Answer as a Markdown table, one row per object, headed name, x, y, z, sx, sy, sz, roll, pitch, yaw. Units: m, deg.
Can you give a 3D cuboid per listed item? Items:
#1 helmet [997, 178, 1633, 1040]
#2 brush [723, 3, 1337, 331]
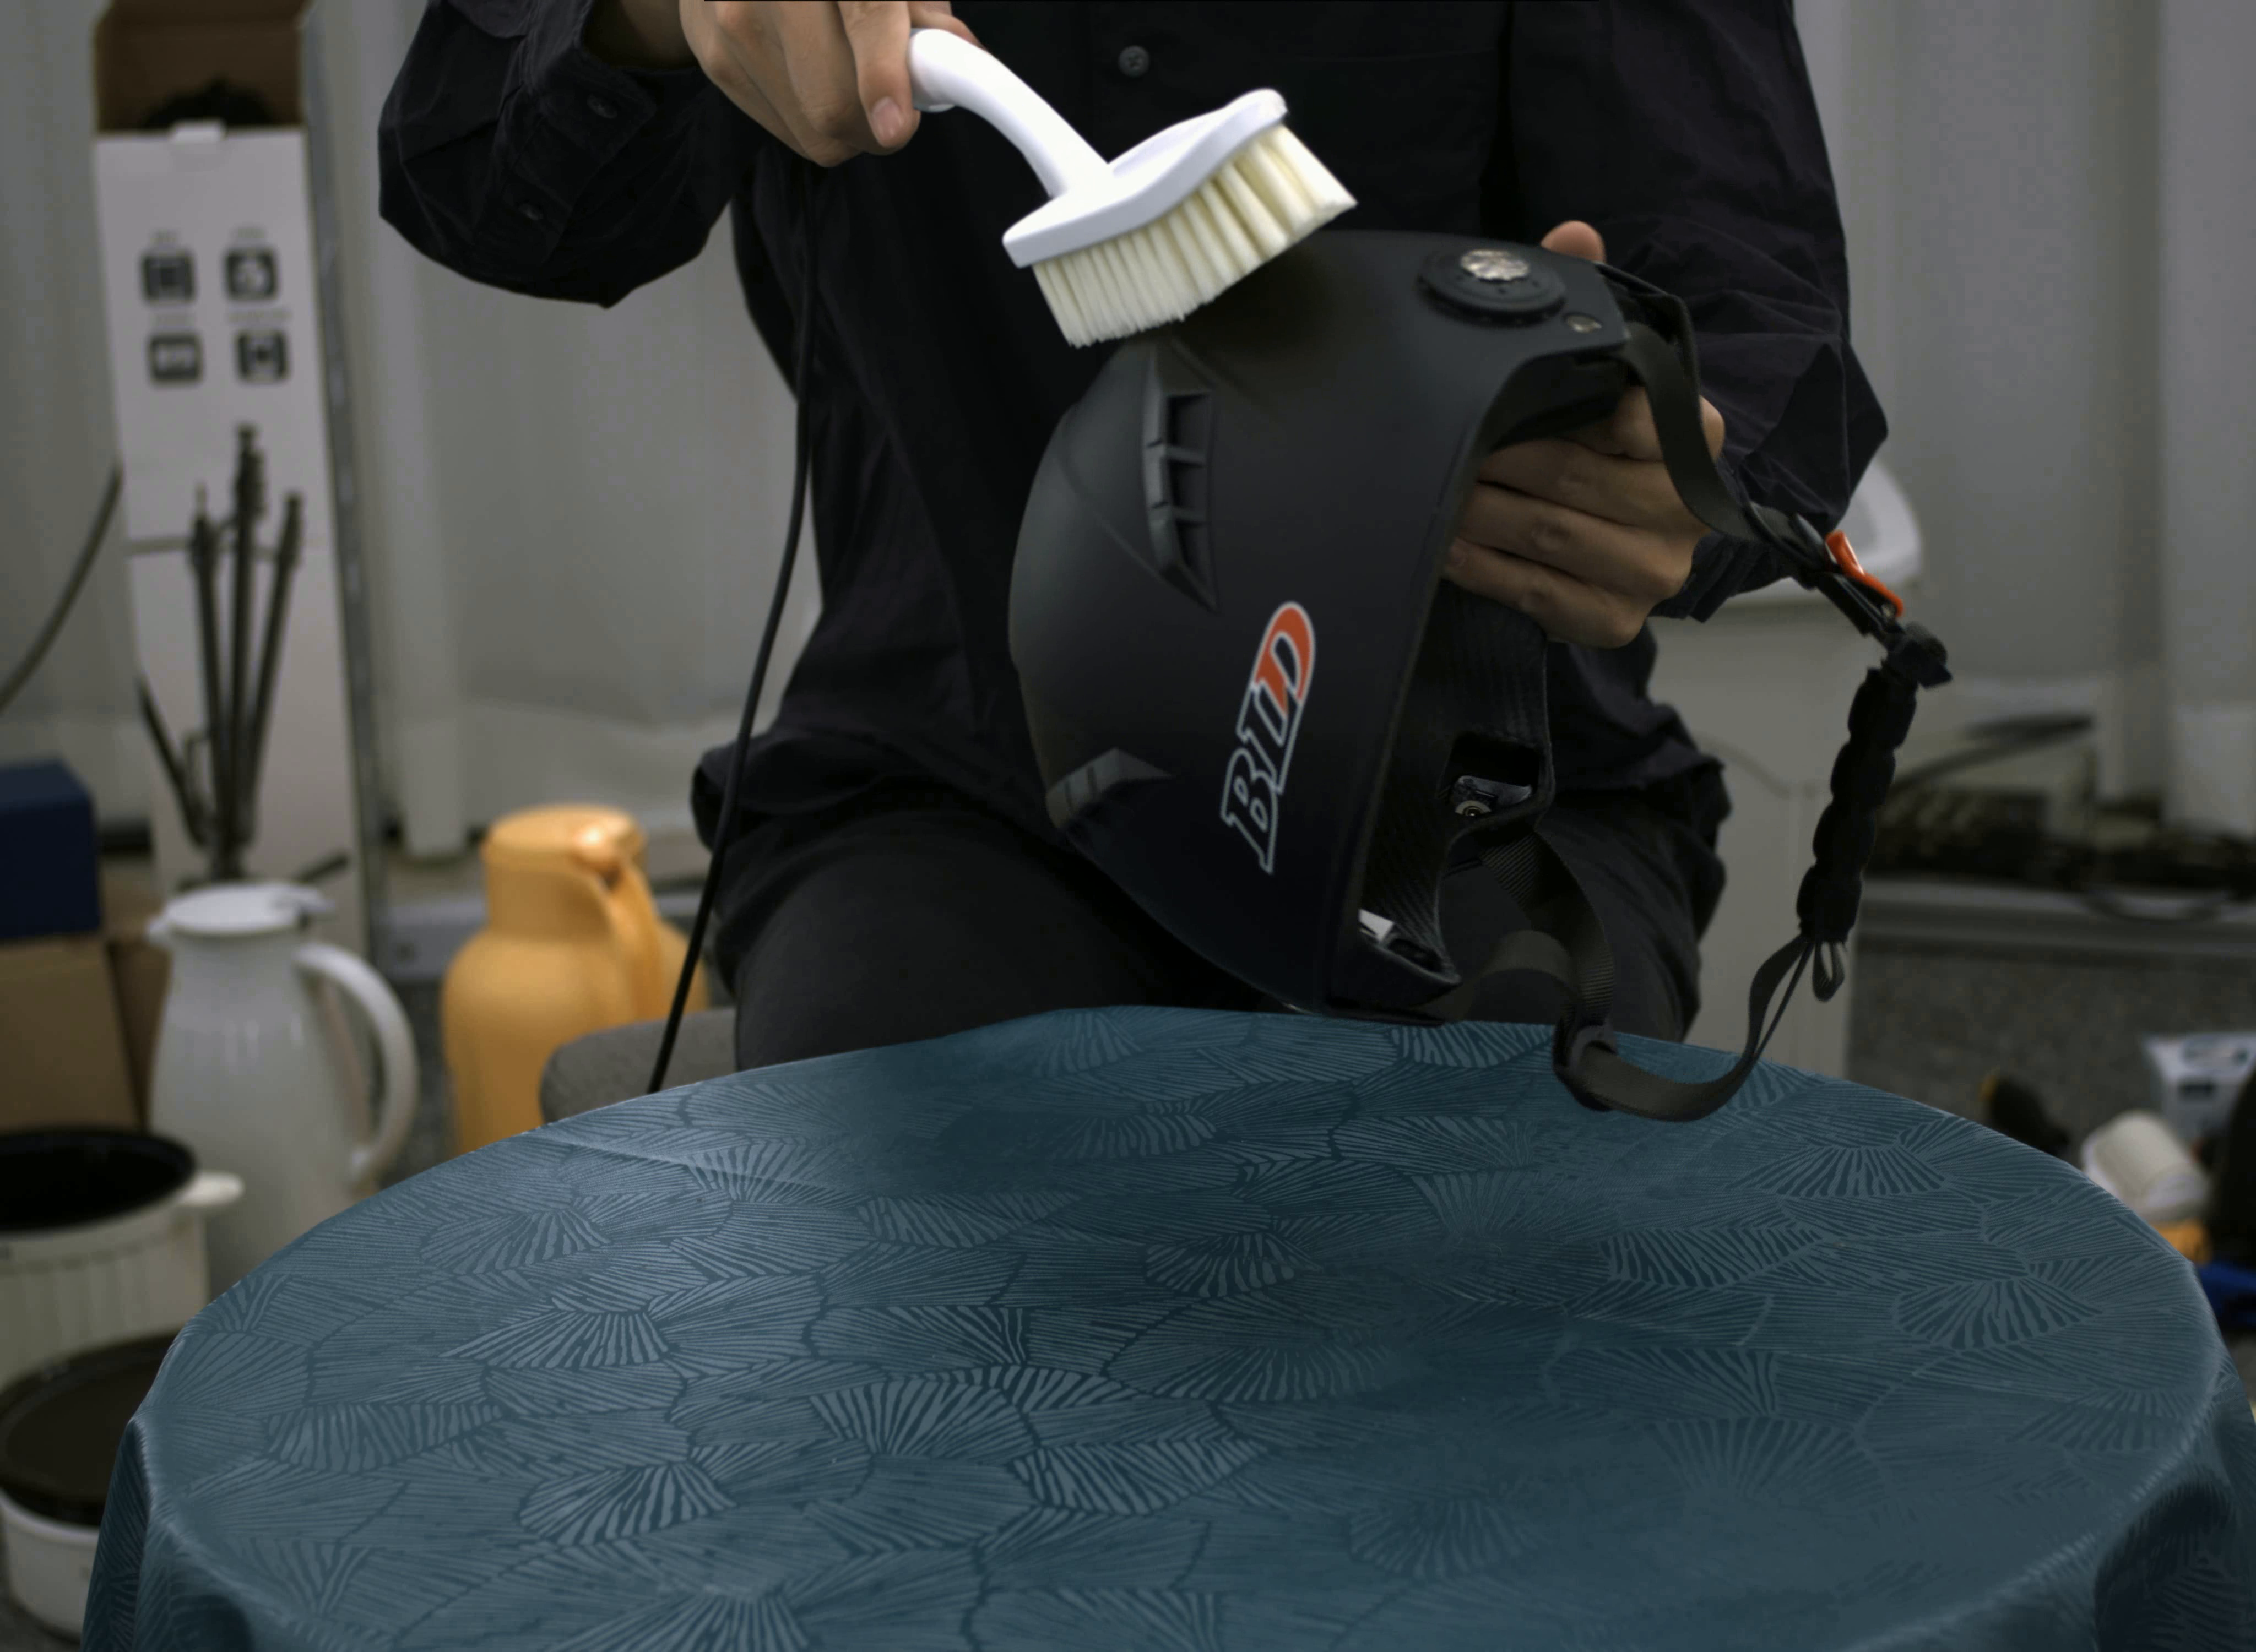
| name | x | y | z | sx | sy | sz | roll | pitch | yaw |
| --- | --- | --- | --- | --- | --- | --- | --- | --- | --- |
| helmet | 0.048 | -0.075 | 1.581 | 0.172 | 0.245 | 0.278 | 15 | 21 | 10 |
| brush | -0.029 | -0.192 | 1.627 | 0.082 | 0.084 | 0.327 | 6 | 7 | -29 |
